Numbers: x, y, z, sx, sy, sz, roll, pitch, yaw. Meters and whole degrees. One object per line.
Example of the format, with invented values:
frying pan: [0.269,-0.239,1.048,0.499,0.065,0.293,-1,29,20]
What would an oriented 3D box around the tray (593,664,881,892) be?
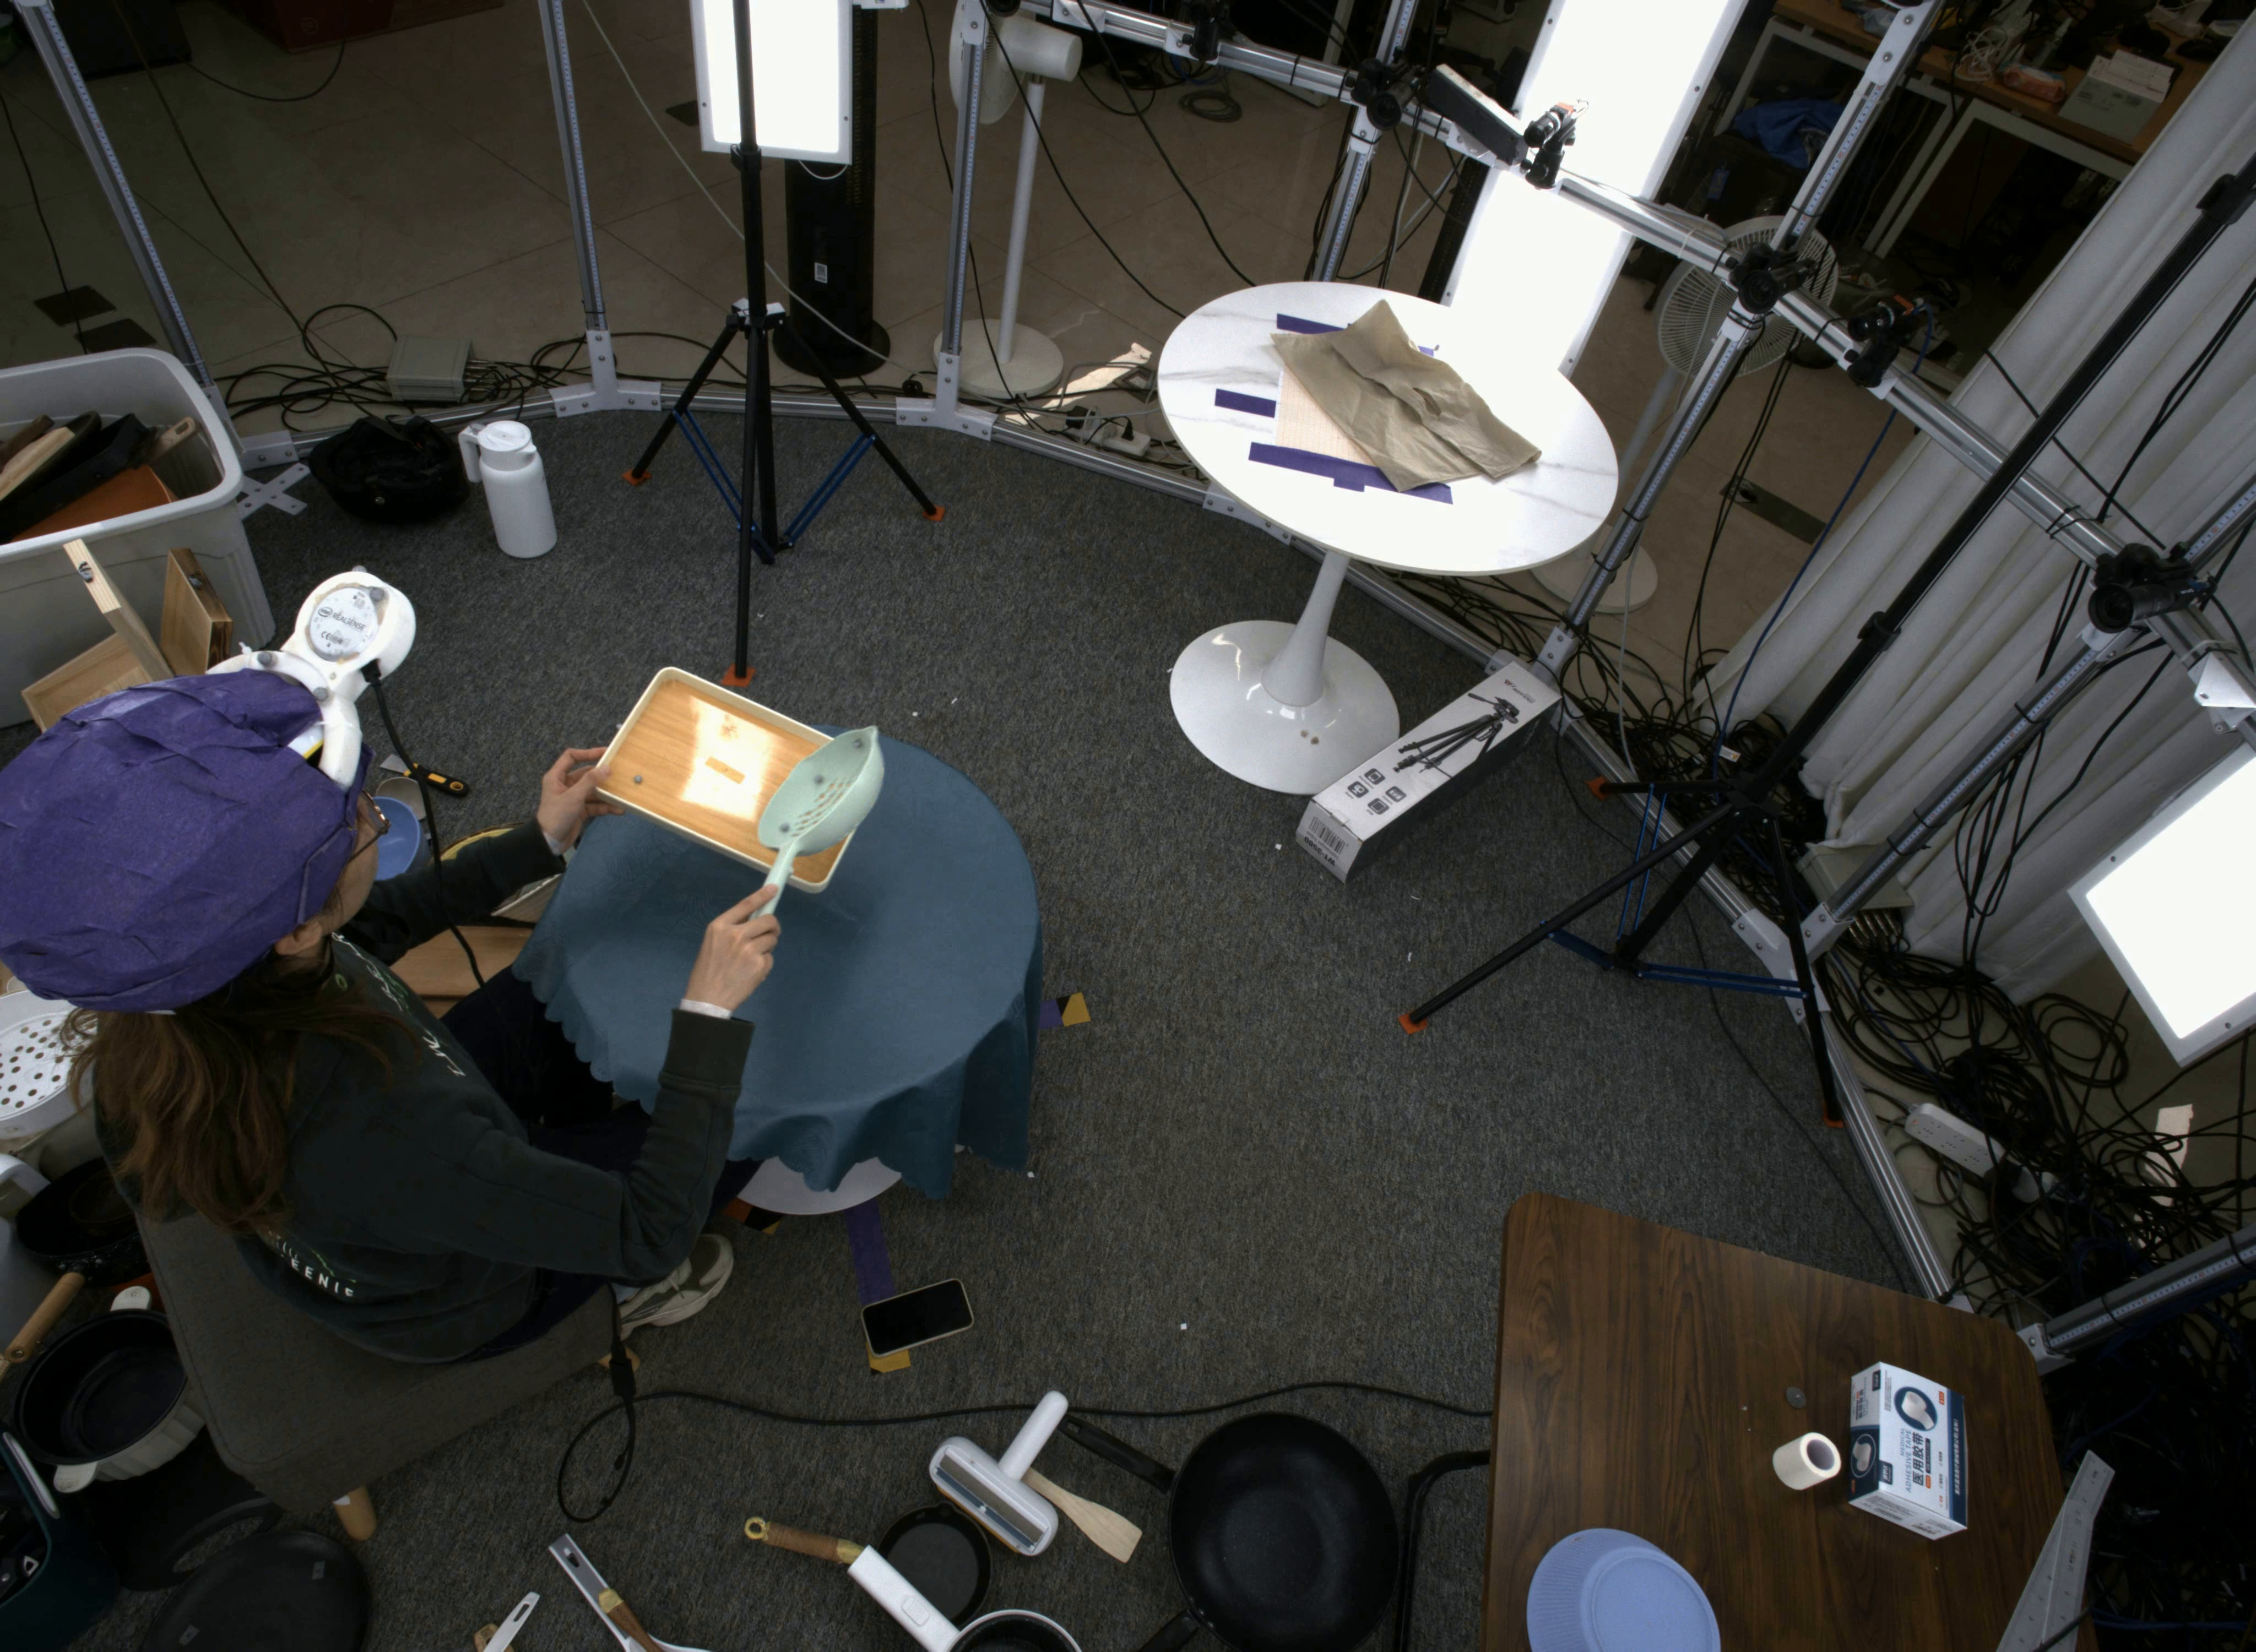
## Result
tray: [-0.465,-0.060,1.538,0.300,0.027,0.190,25,61,-7]

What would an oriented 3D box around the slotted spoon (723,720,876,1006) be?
slotted spoon: [-0.358,0.031,1.355,0.078,0.166,0.354,52,35,-25]
